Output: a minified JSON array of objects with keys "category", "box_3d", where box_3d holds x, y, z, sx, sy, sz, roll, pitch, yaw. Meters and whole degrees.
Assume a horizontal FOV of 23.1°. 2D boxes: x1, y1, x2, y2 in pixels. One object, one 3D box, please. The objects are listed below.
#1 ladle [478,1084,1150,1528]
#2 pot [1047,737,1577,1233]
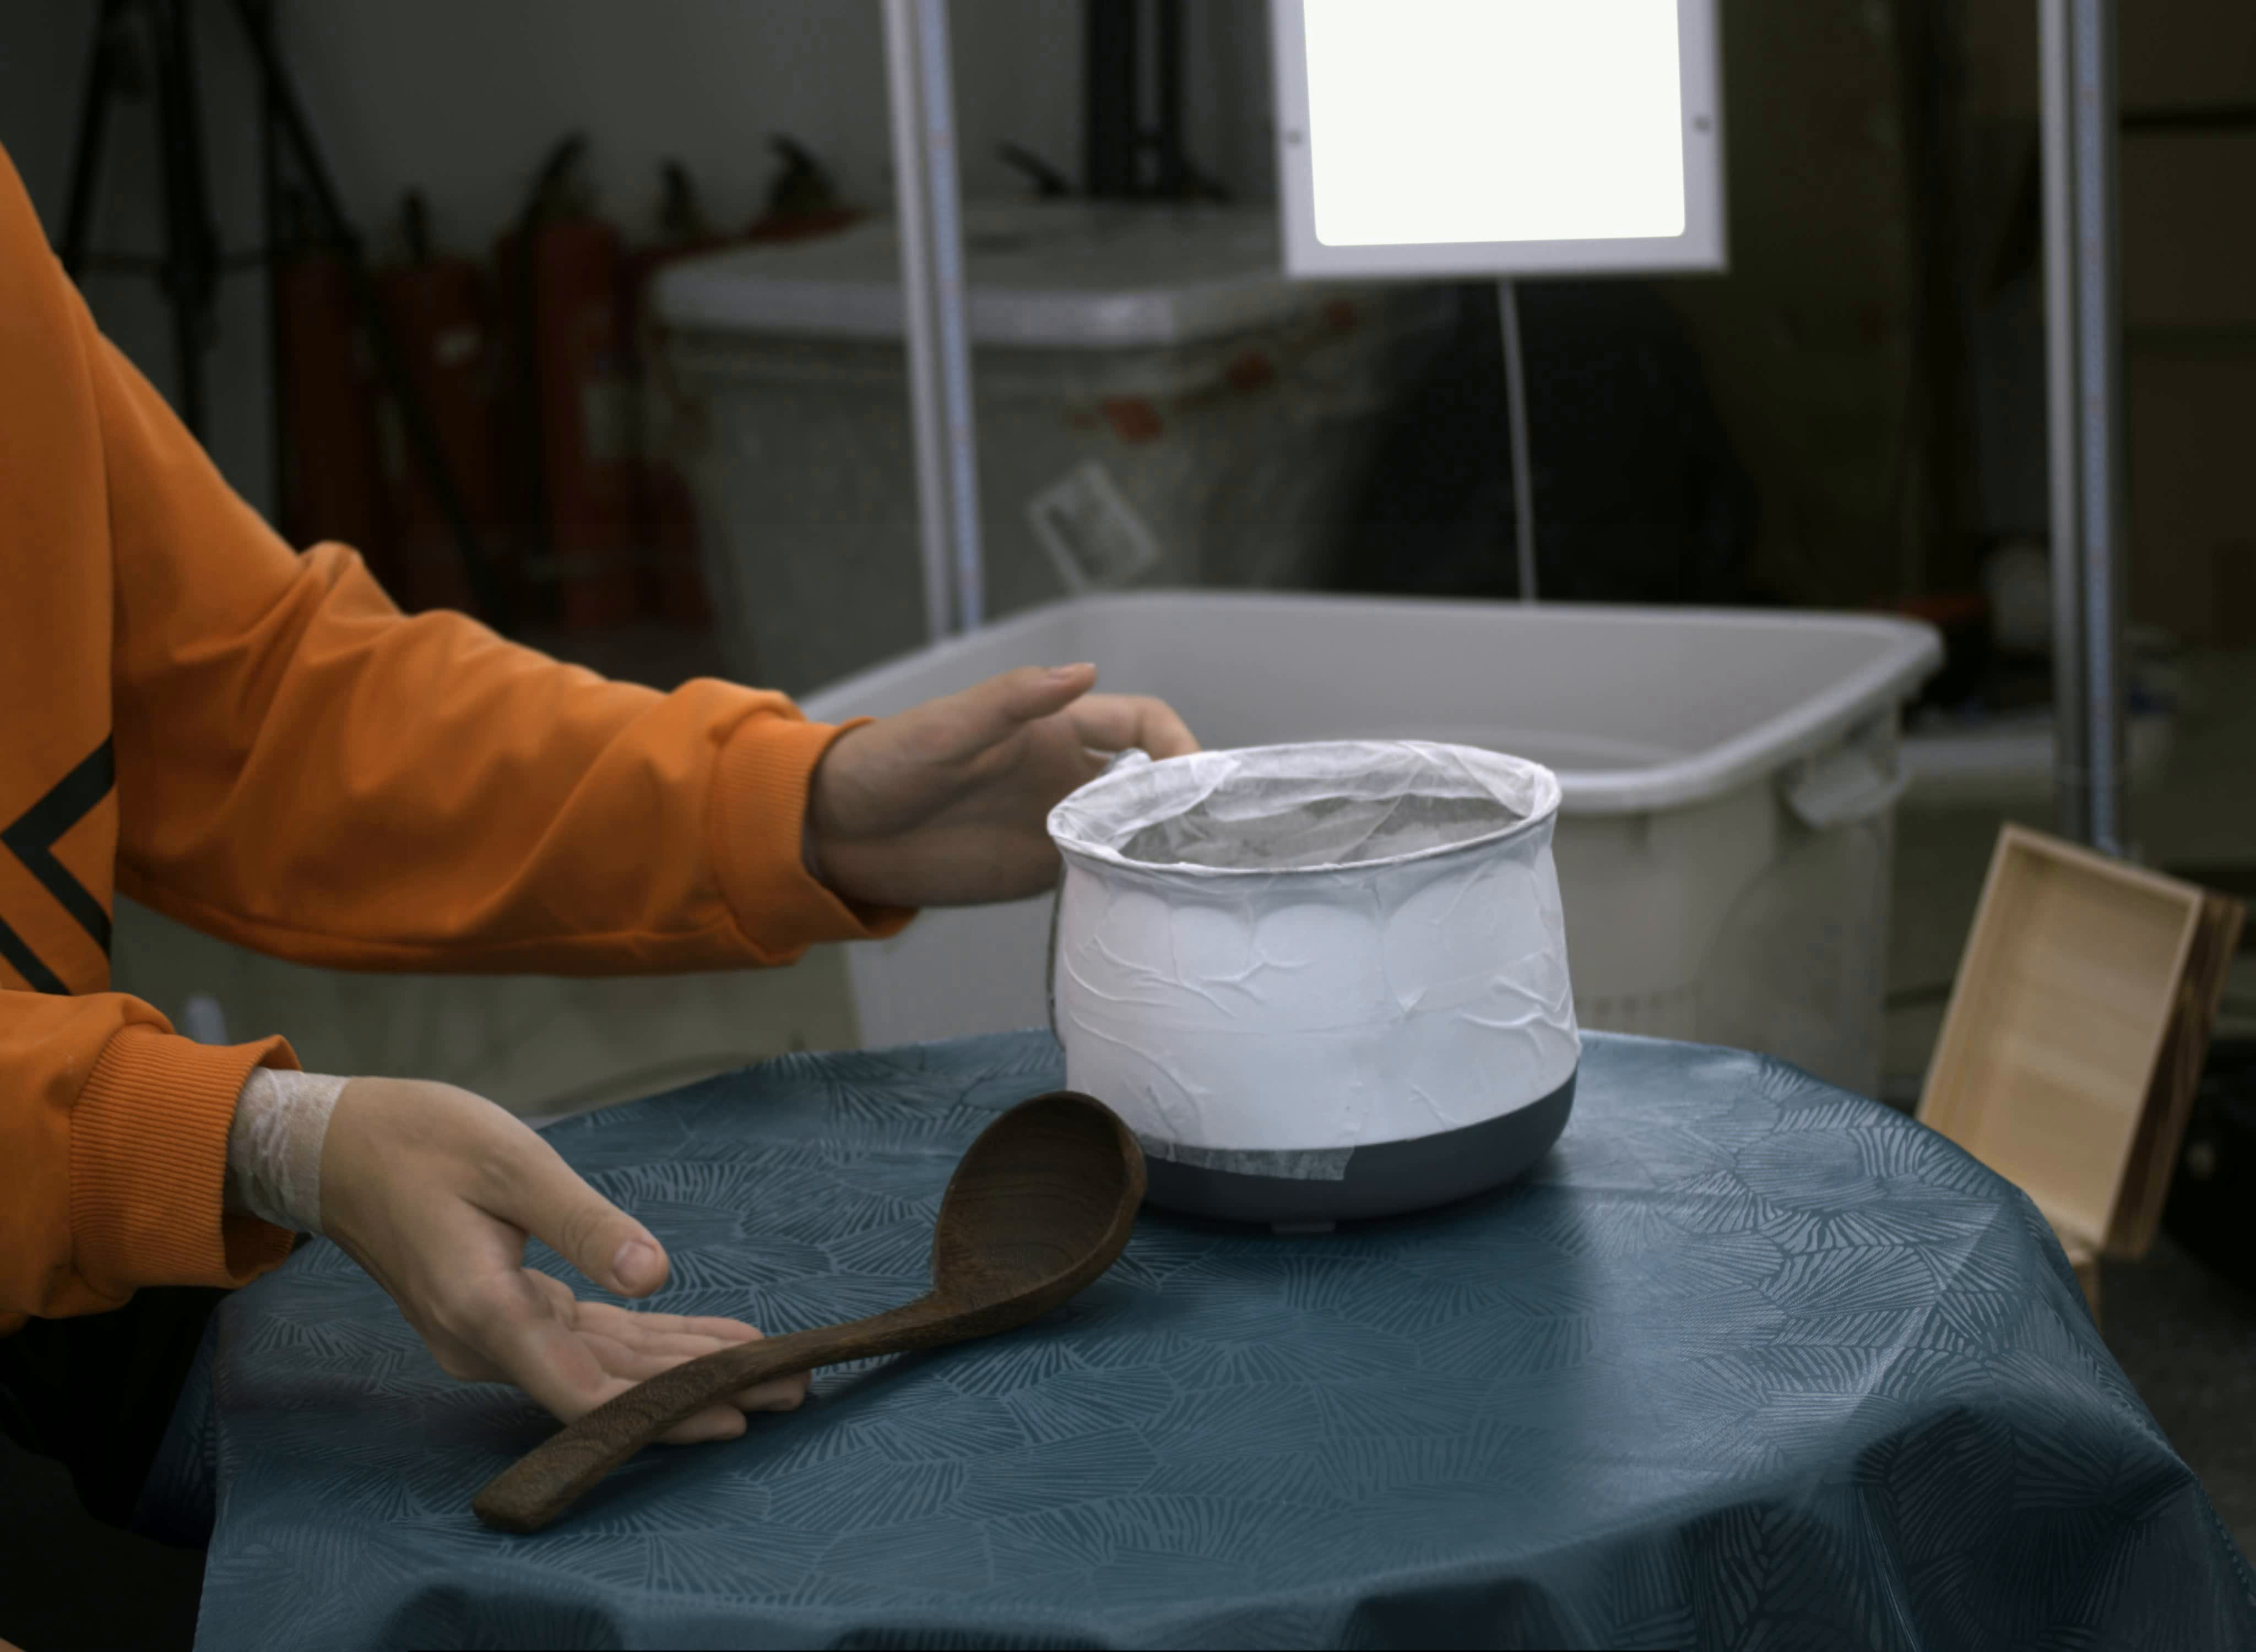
[{"category":"ladle","box_3d":[-0.097,0.144,1.711,0.078,0.071,0.267,6,16,43]},{"category":"pot","box_3d":[0.048,0.049,1.907,0.174,0.137,0.238,-14,17,-35]}]
